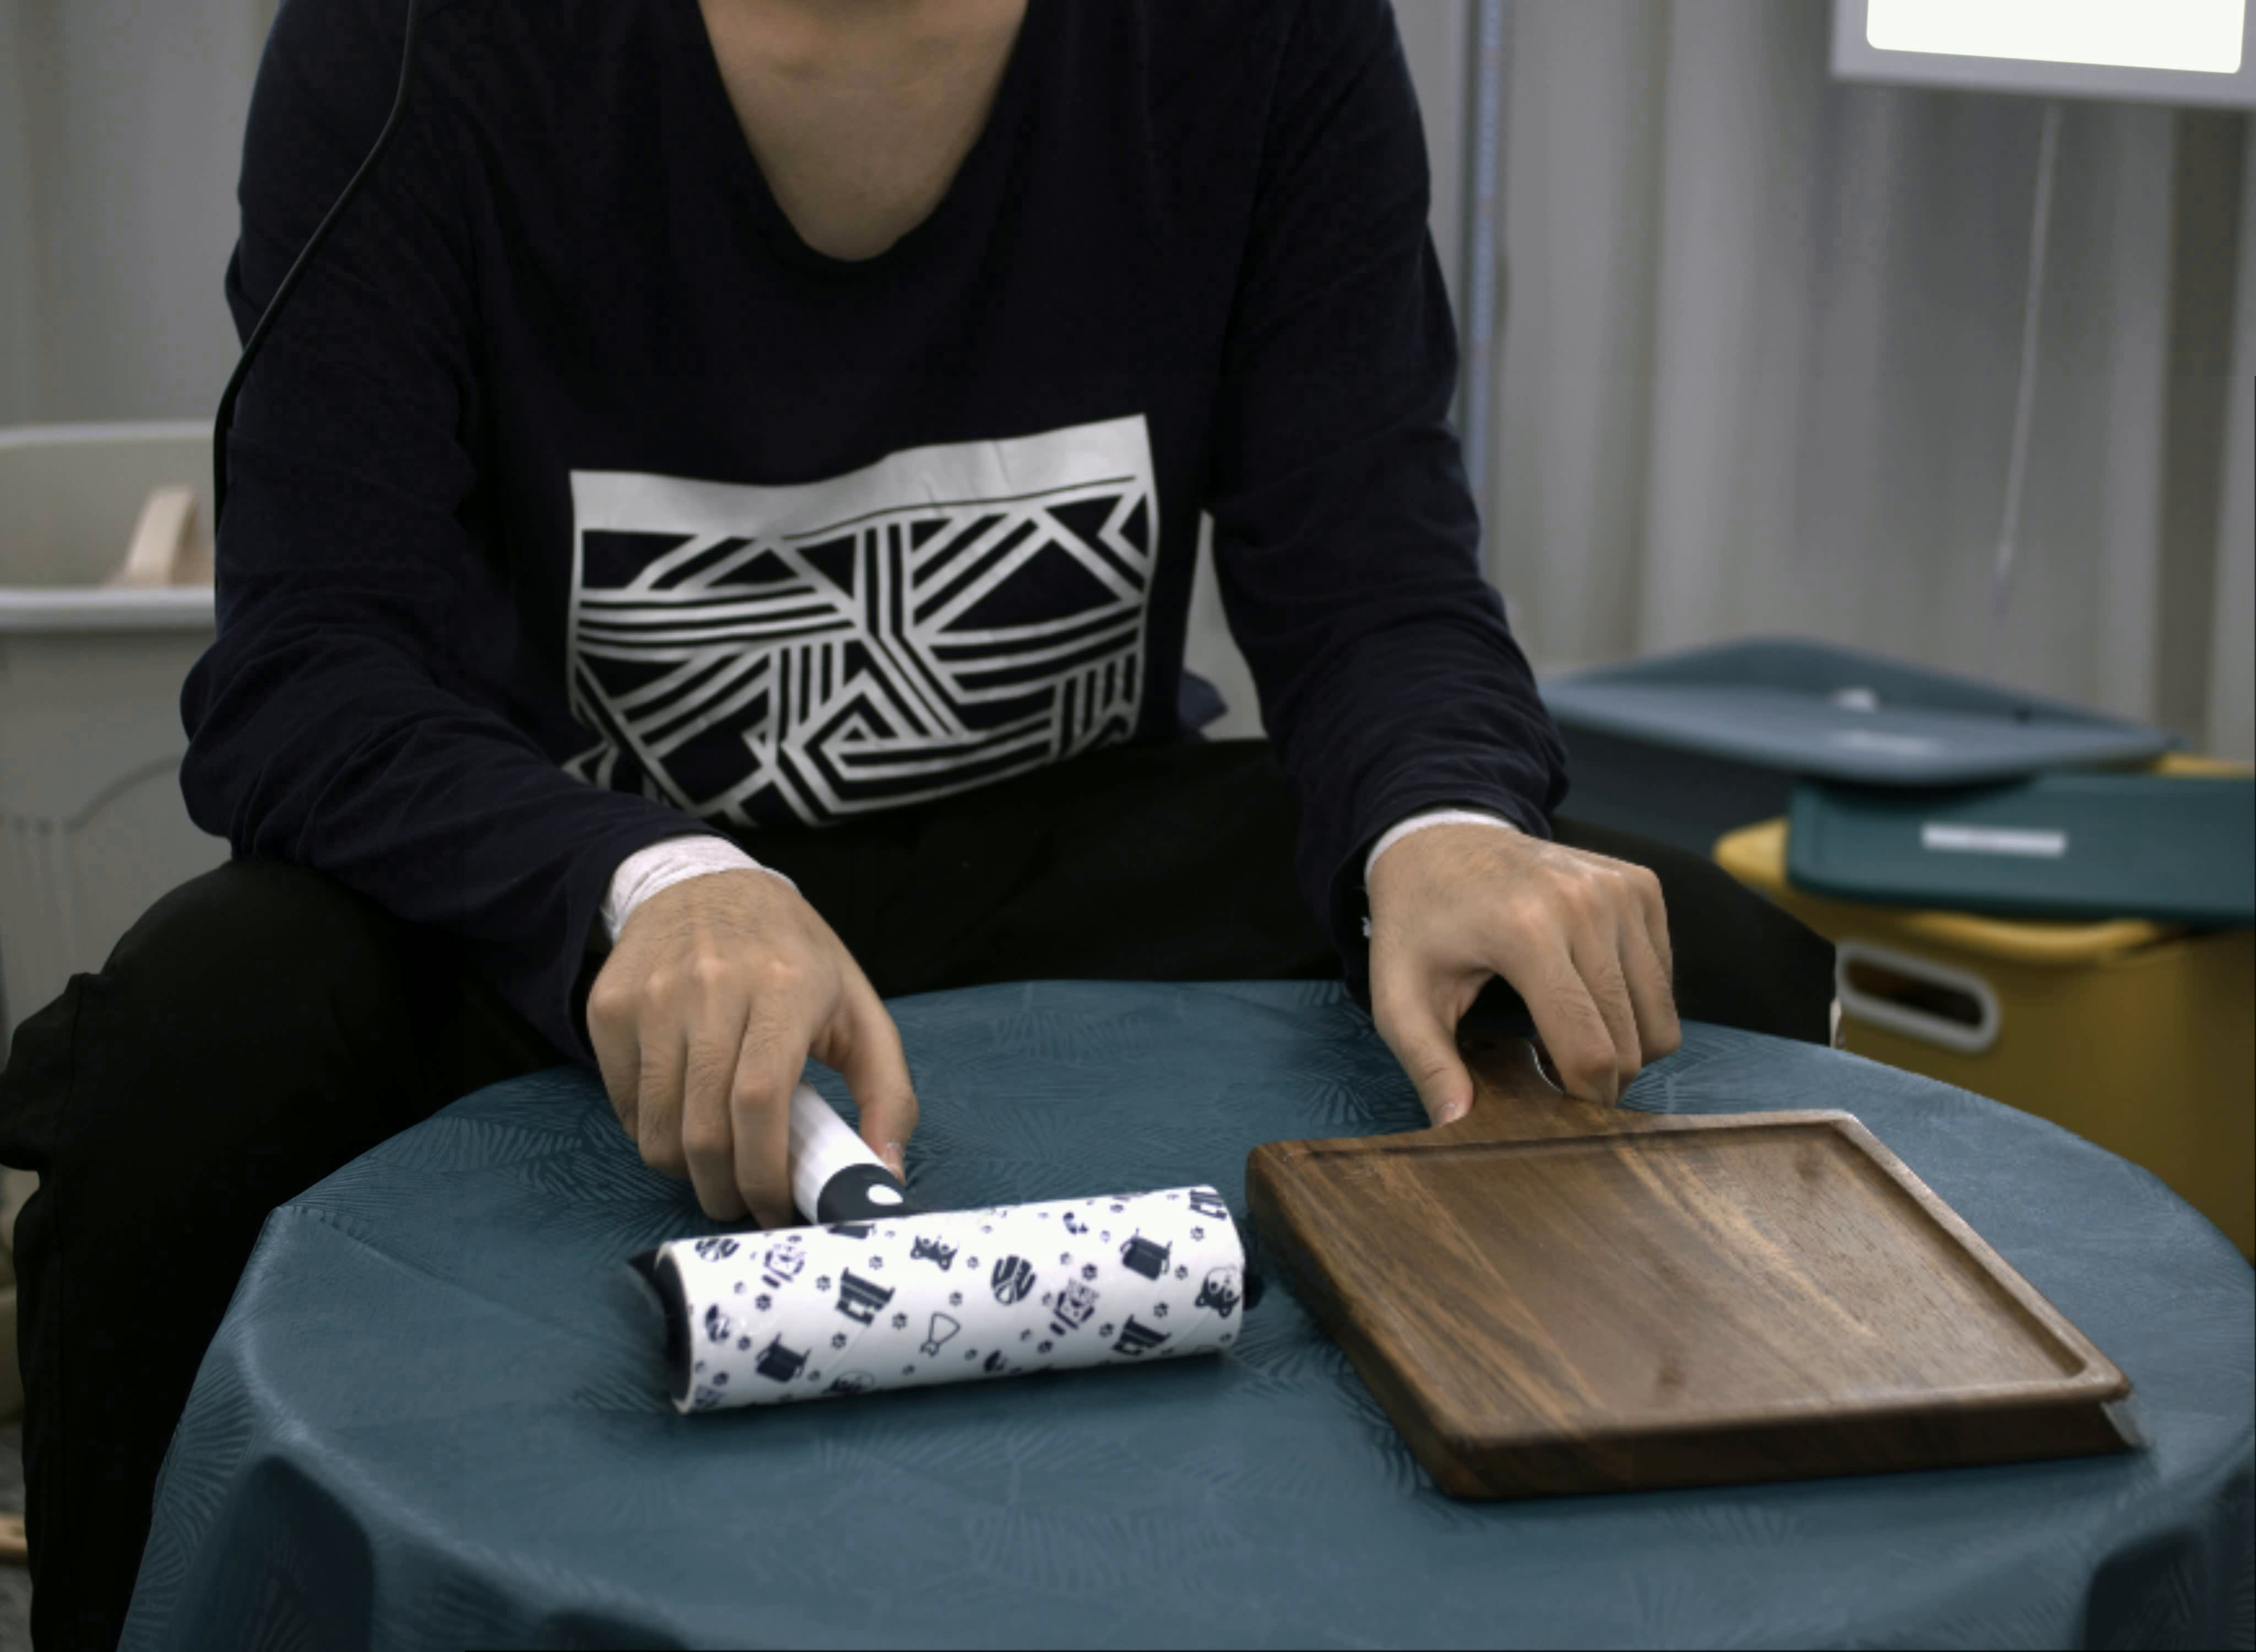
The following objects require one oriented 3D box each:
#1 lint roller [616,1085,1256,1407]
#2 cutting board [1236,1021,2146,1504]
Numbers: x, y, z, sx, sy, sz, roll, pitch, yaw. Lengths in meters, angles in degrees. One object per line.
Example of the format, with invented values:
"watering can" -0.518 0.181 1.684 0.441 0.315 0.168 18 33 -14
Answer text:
"lint roller" -0.084 0.109 1.558 0.177 0.051 0.244 -6 14 -19
"cutting board" 0.144 0.119 1.563 0.201 0.023 0.349 -2 16 -12
